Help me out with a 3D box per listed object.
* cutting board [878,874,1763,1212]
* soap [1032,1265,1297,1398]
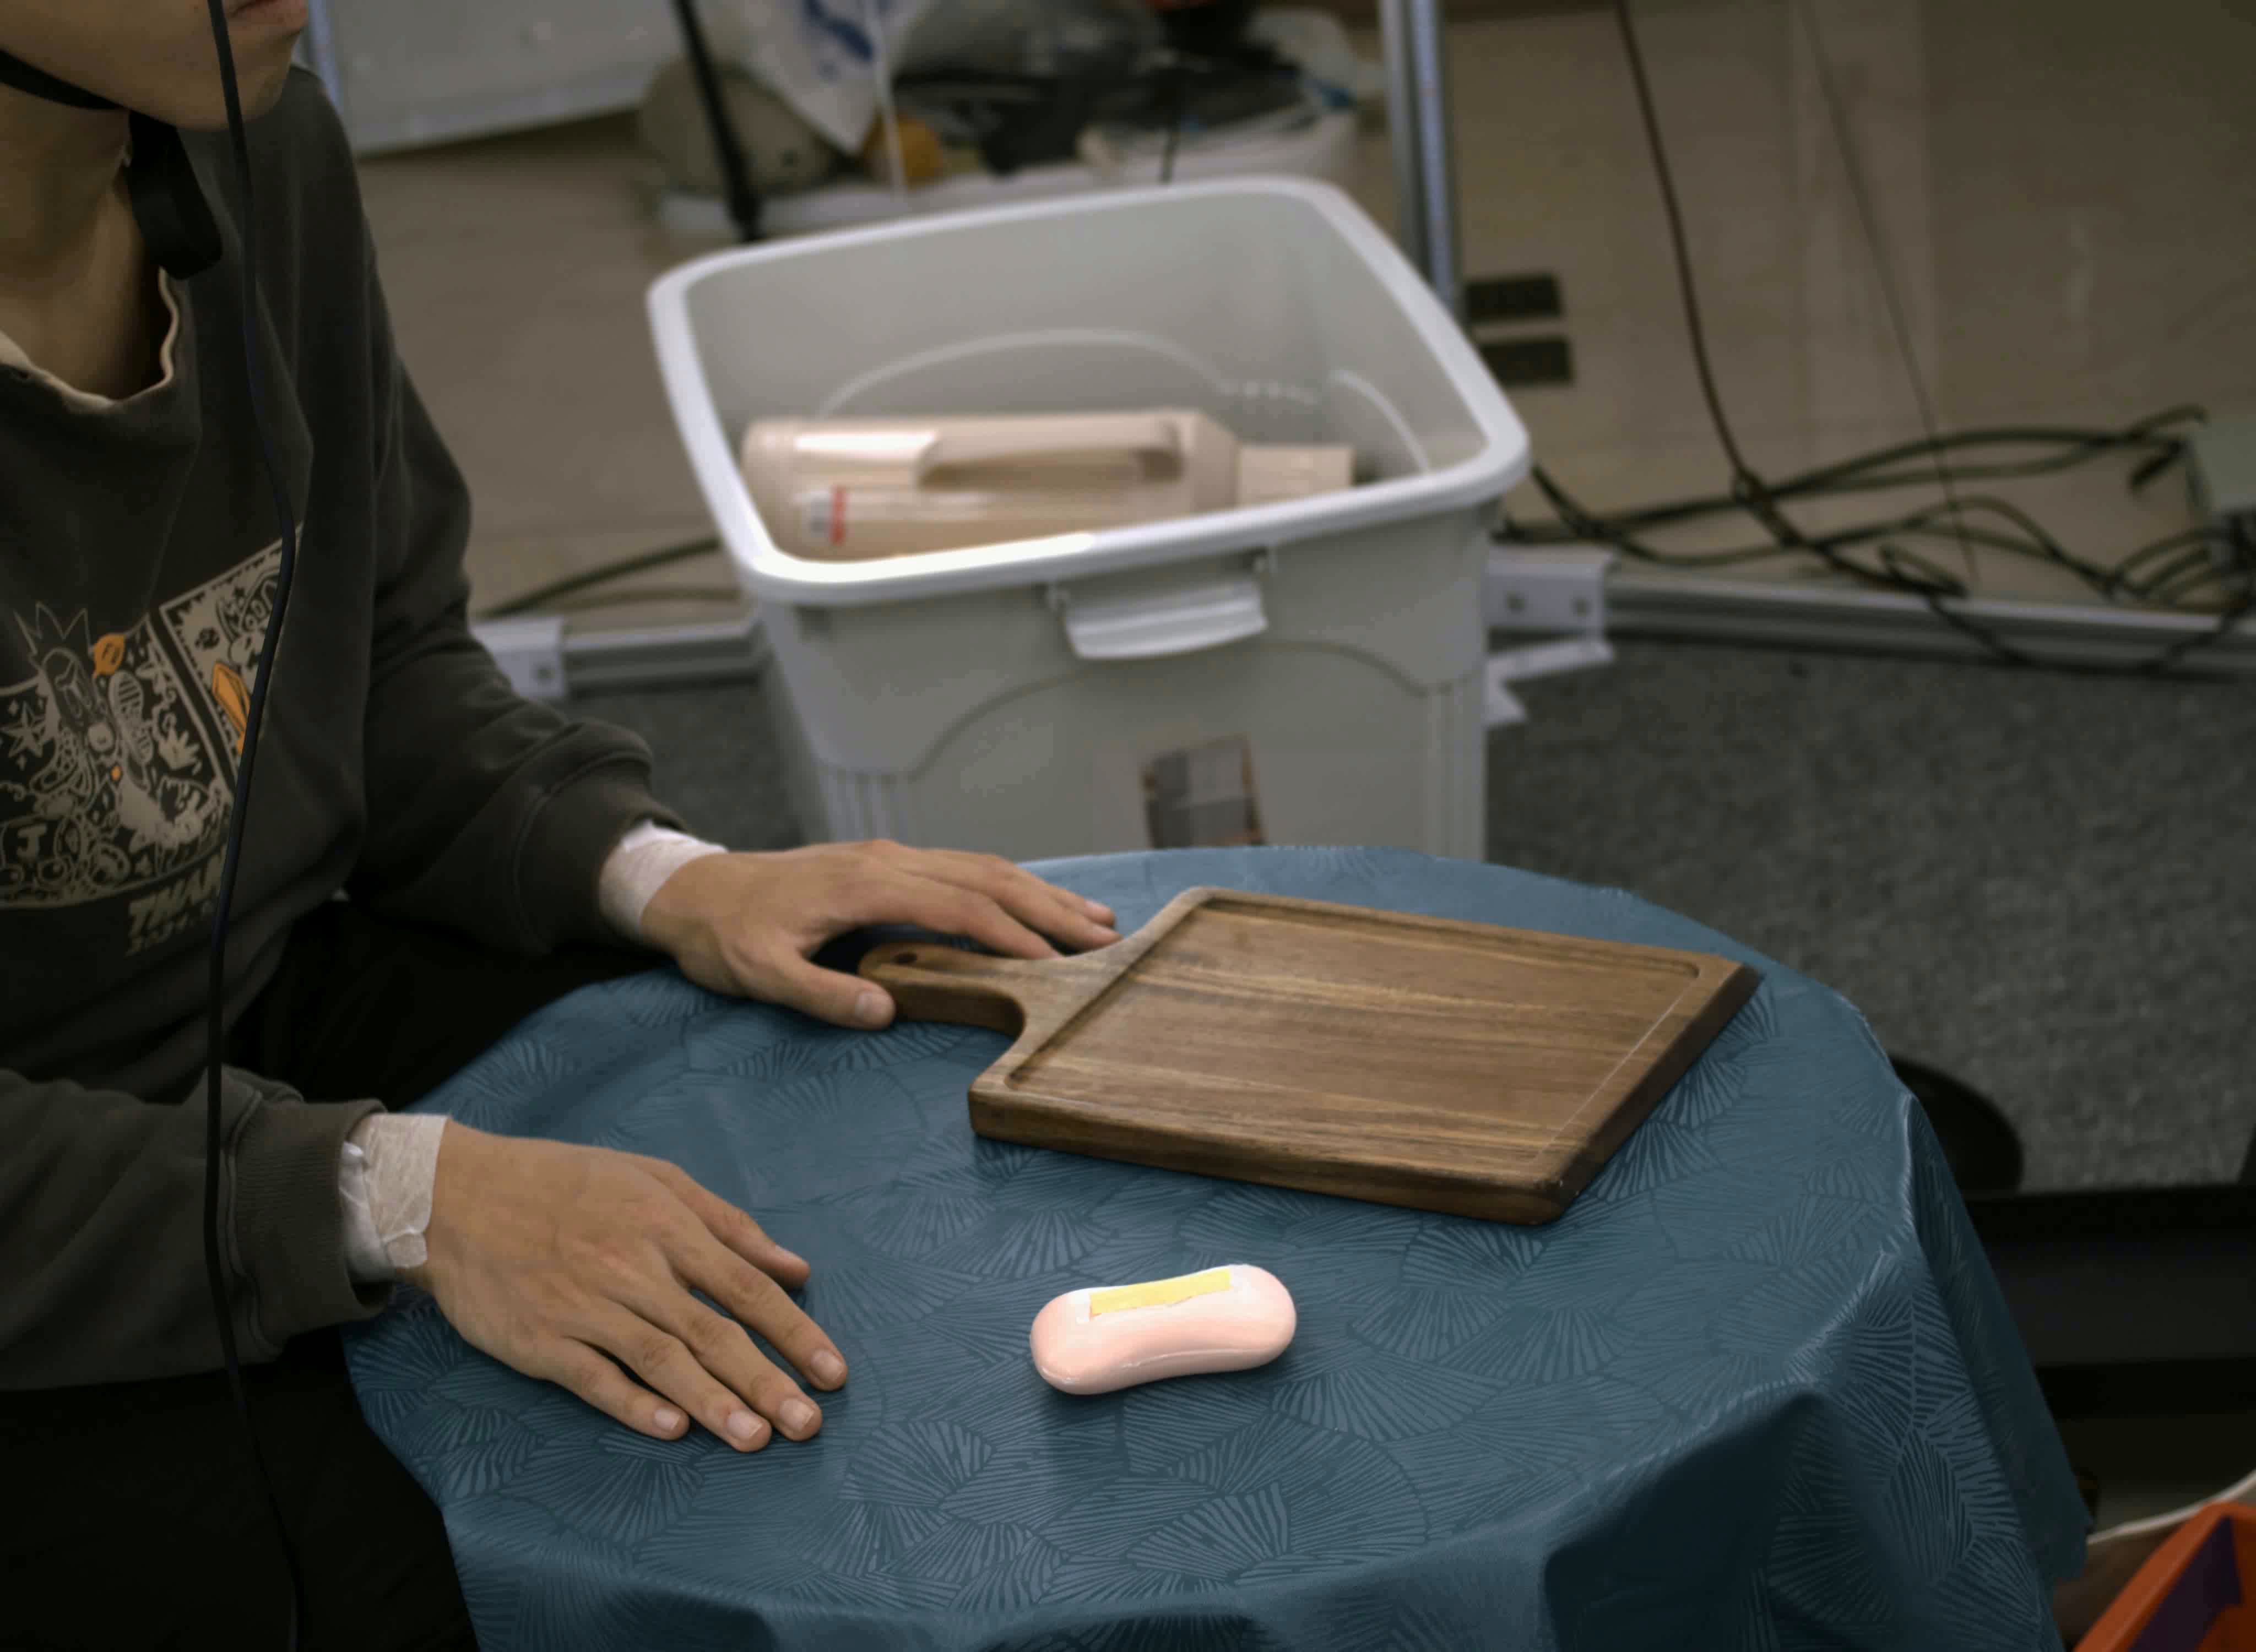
[{"bbox_3d":[0.055,0.075,2.244,0.350,0.023,0.198,8,29,29],"label":"cutting board"},{"bbox_3d":[0.013,0.180,2.022,0.094,0.031,0.049,-10,25,-4],"label":"soap"}]
